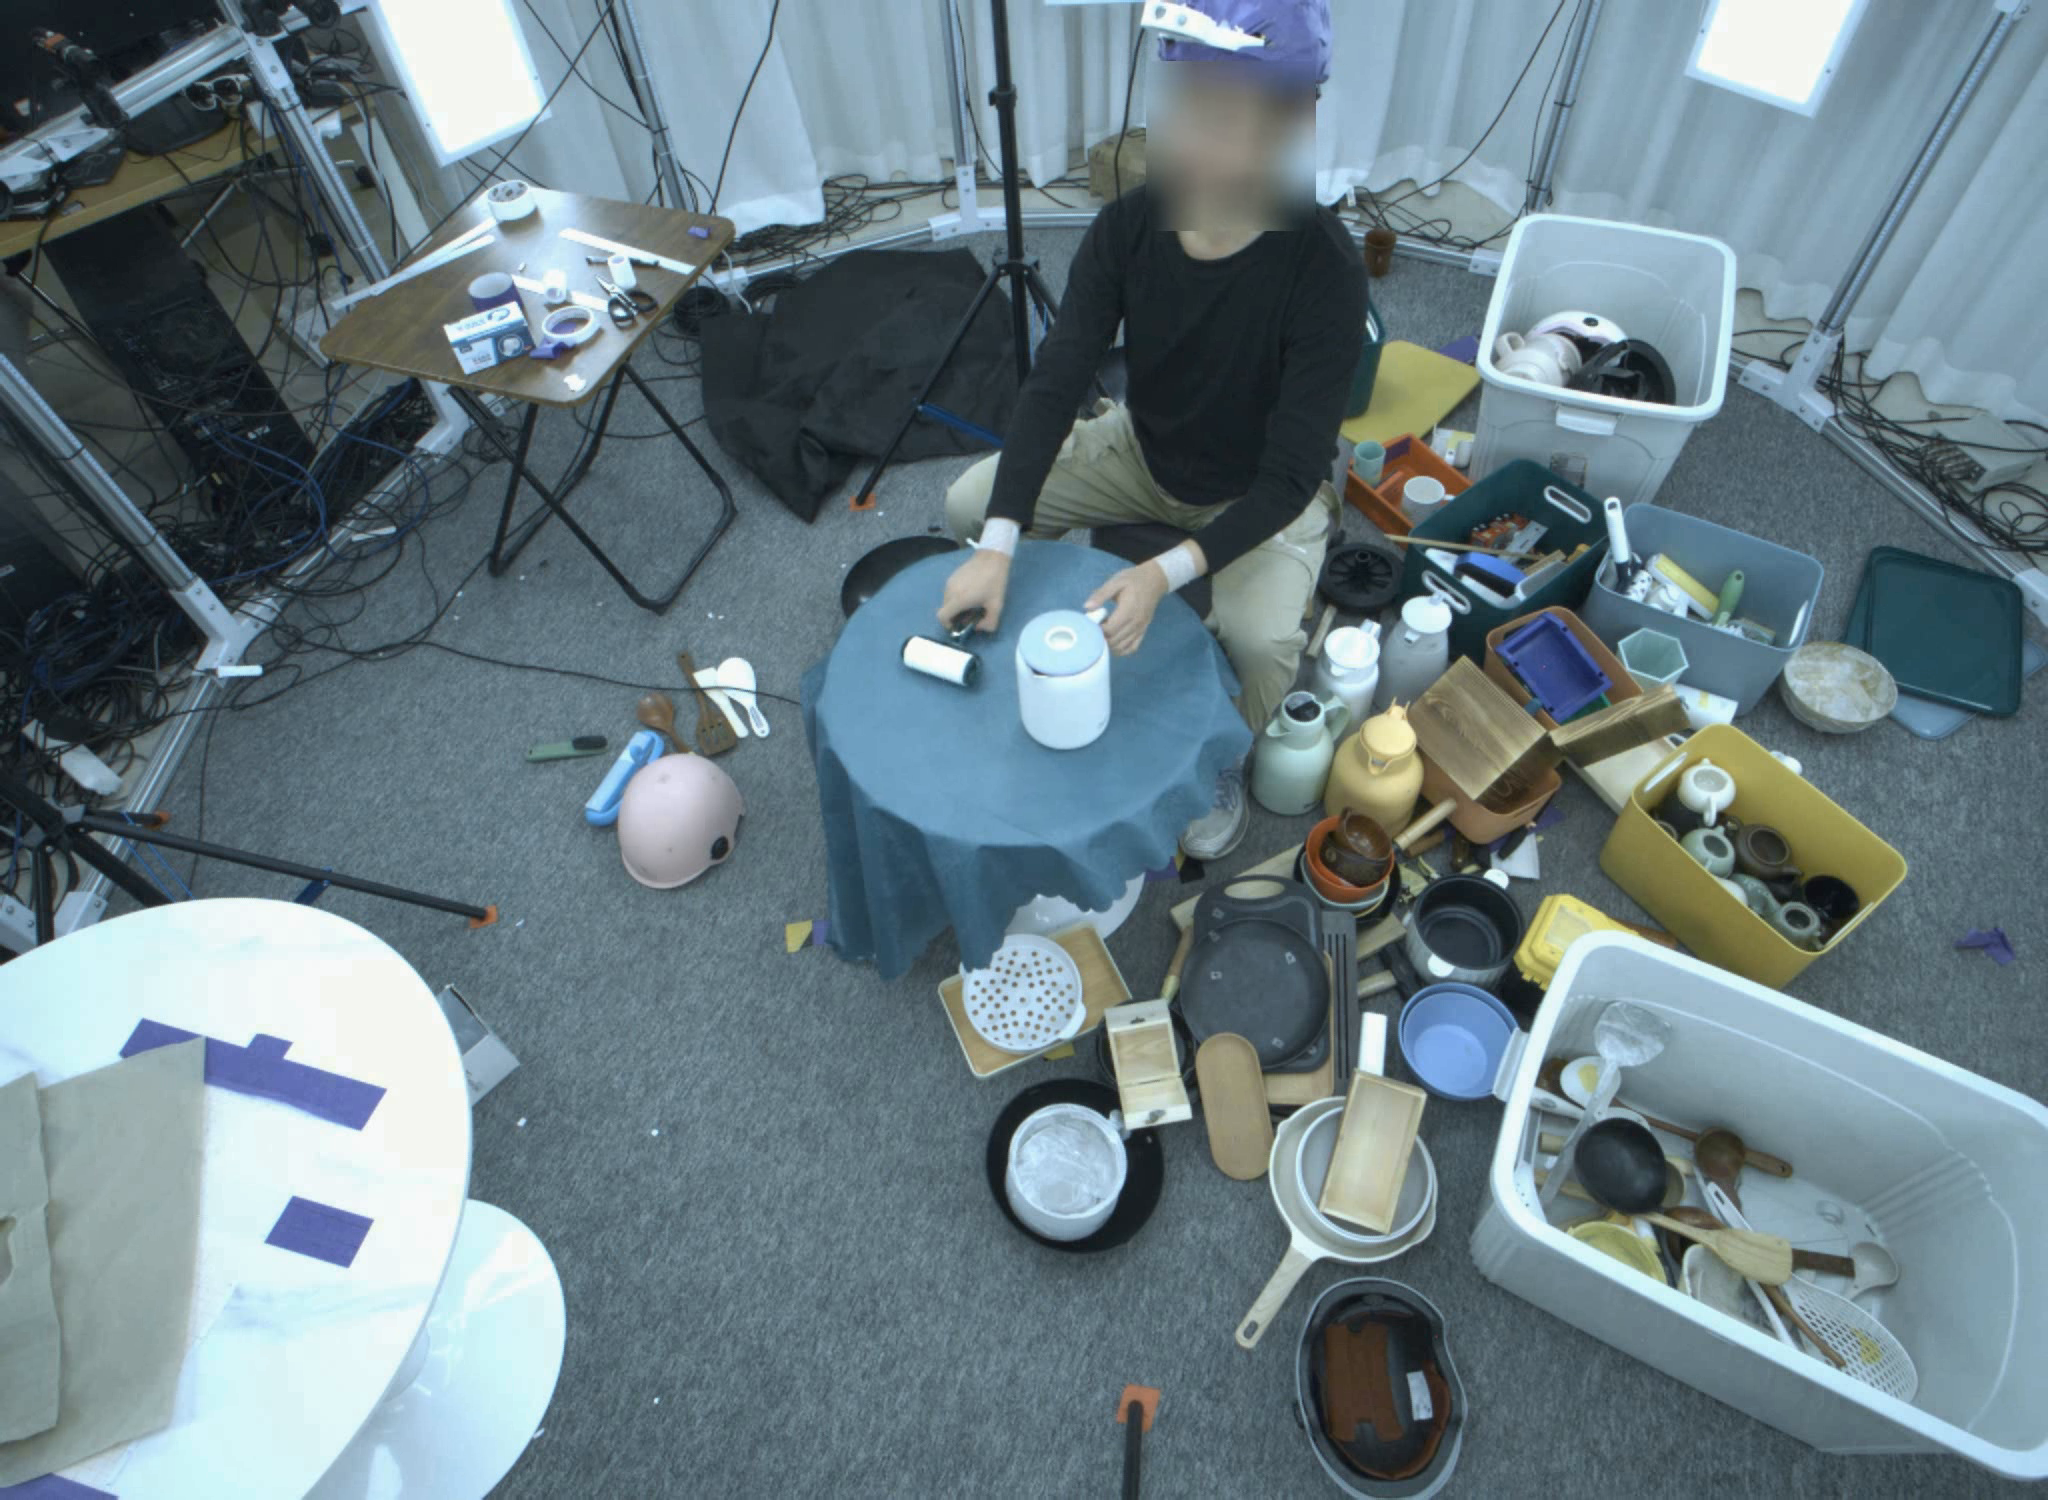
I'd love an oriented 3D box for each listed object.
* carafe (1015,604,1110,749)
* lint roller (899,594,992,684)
[{"bbox_3d":[0.069,-0.116,1.762,0.130,0.184,0.192,26,58,19],"label":"carafe"},{"bbox_3d":[-0.099,-0.188,1.889,0.132,0.049,0.180,22,62,17],"label":"lint roller"}]
